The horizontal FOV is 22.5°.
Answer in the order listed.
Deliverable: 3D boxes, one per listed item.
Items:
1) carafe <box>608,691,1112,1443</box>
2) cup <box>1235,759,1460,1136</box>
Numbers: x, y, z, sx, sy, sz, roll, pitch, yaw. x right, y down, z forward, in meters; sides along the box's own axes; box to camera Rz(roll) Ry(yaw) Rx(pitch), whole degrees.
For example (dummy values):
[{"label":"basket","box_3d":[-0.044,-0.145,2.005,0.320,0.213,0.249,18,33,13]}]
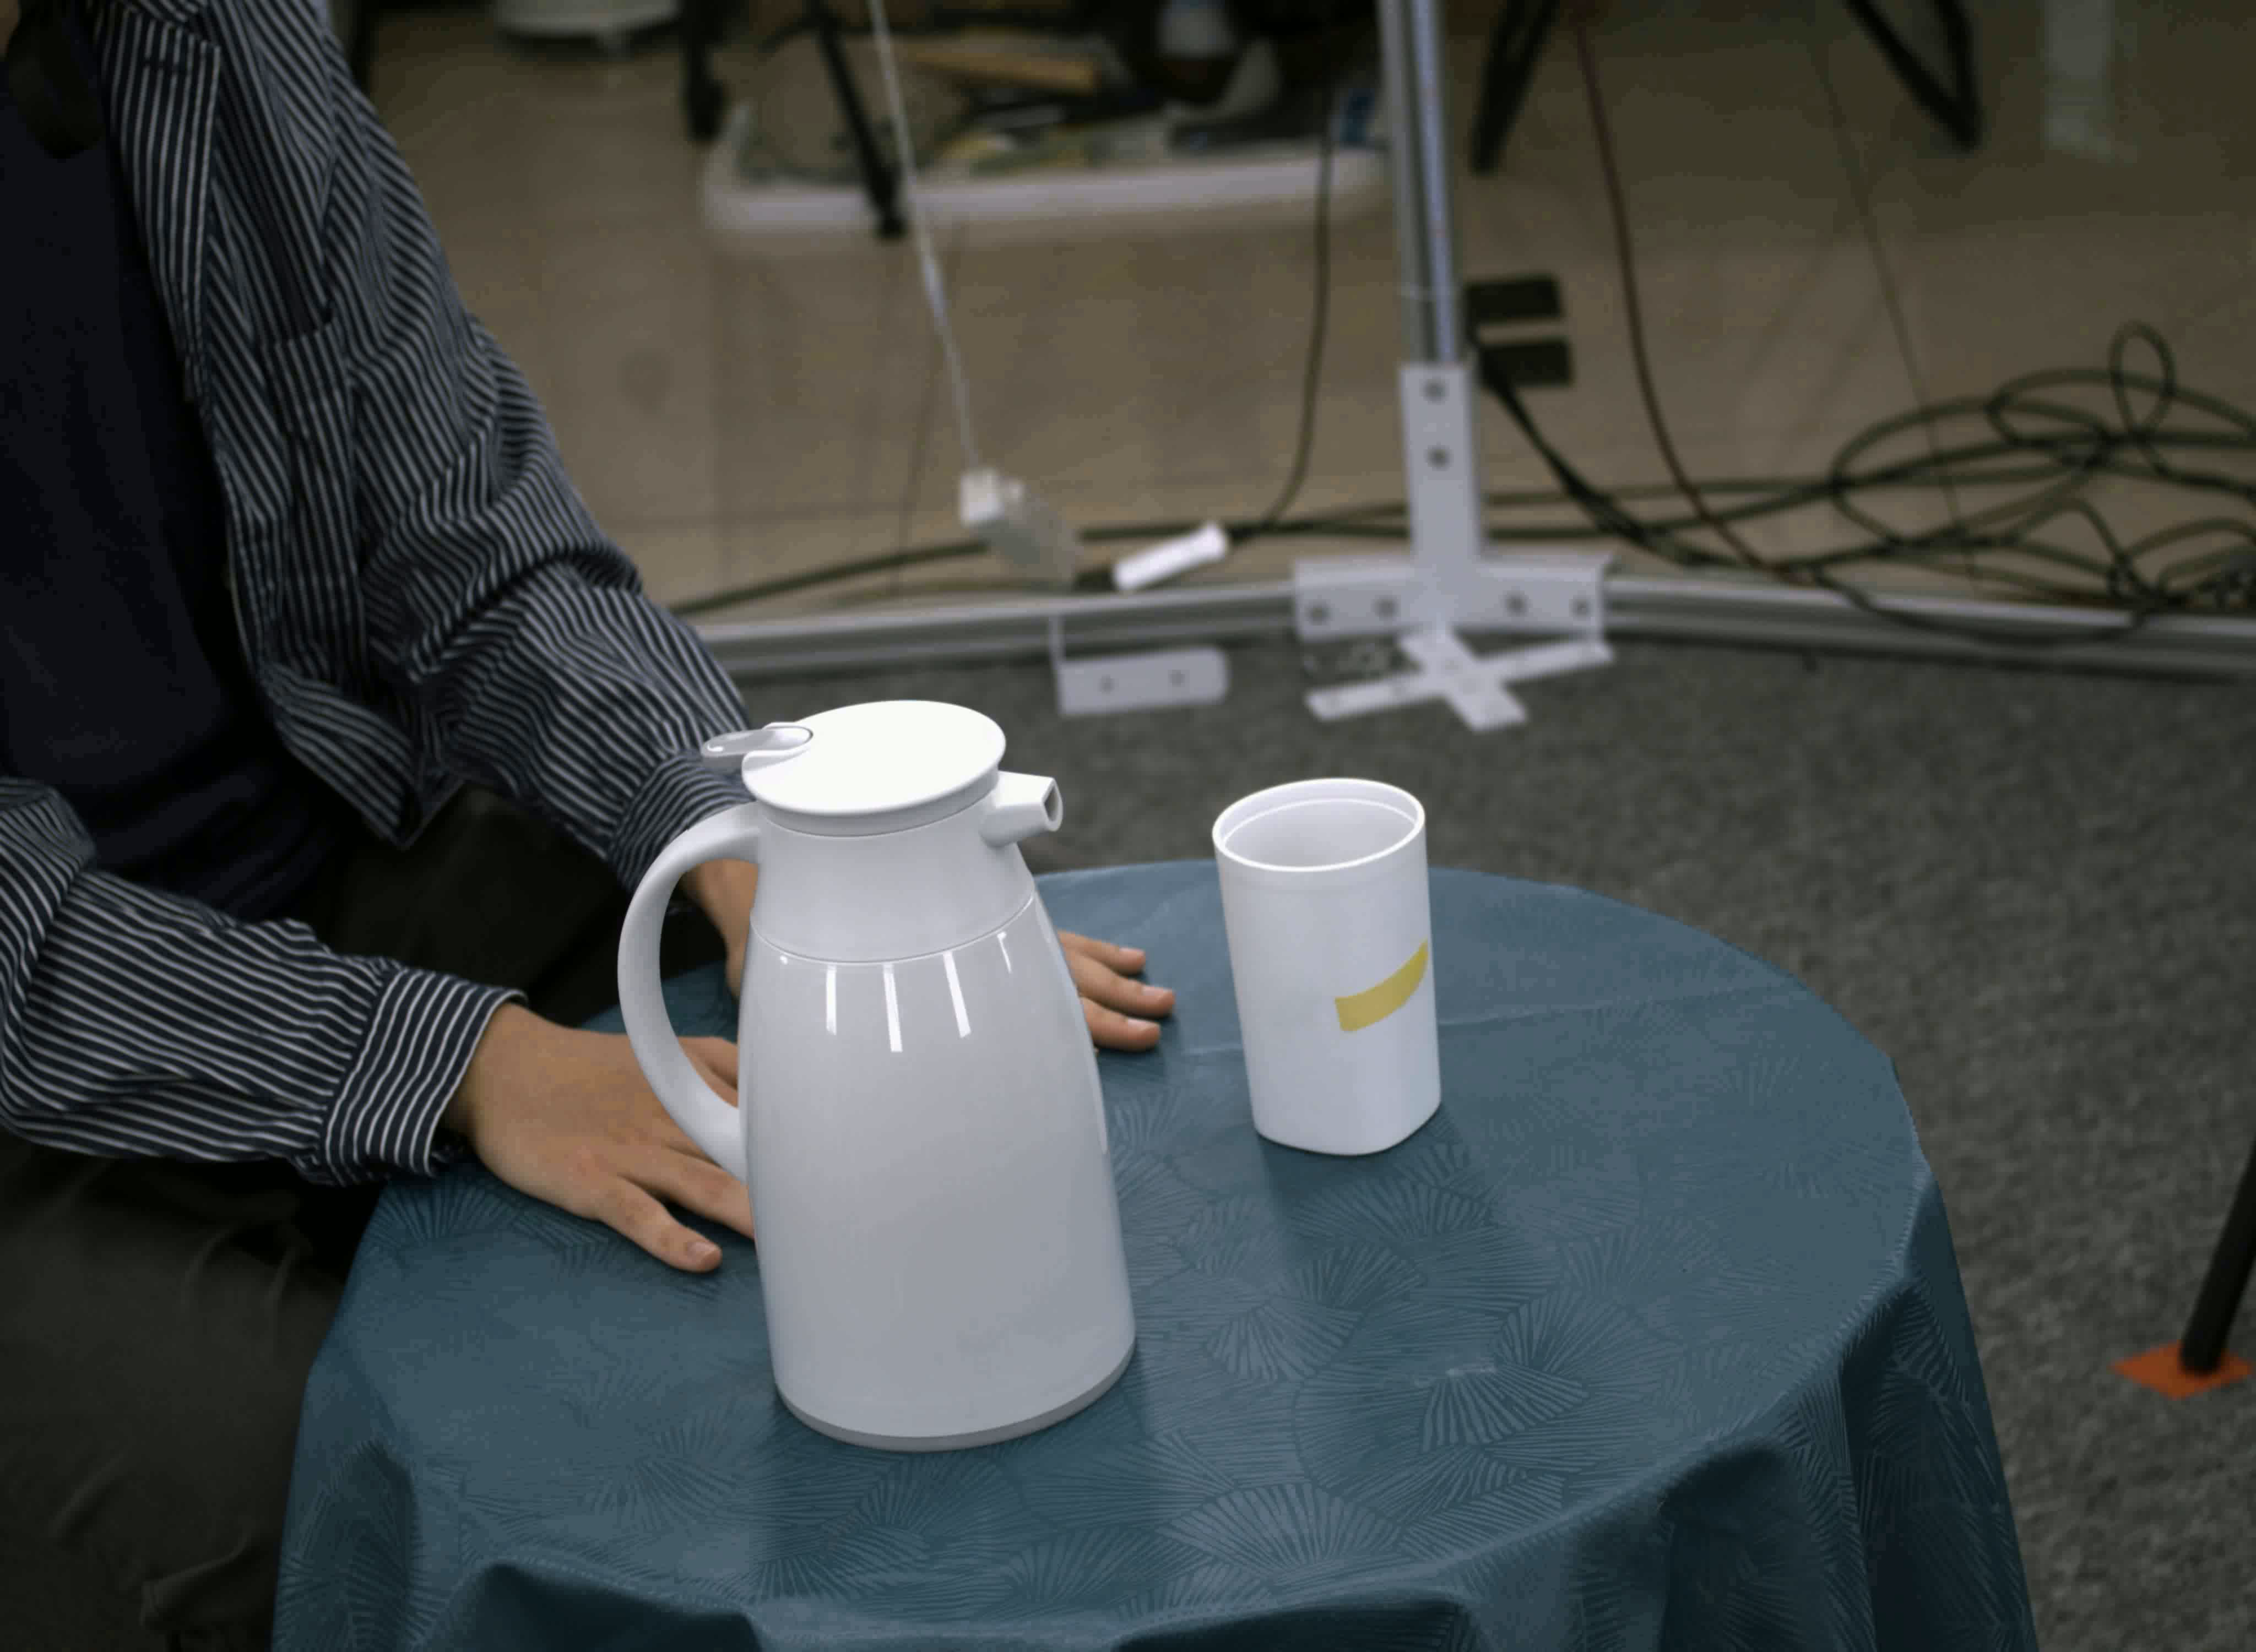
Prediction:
[{"label":"carafe","box_3d":[-0.097,0.078,1.997,0.167,0.253,0.130,-1,28,7]},{"label":"cup","box_3d":[0.087,0.048,2.168,0.081,0.127,0.080,-5,26,3]}]
